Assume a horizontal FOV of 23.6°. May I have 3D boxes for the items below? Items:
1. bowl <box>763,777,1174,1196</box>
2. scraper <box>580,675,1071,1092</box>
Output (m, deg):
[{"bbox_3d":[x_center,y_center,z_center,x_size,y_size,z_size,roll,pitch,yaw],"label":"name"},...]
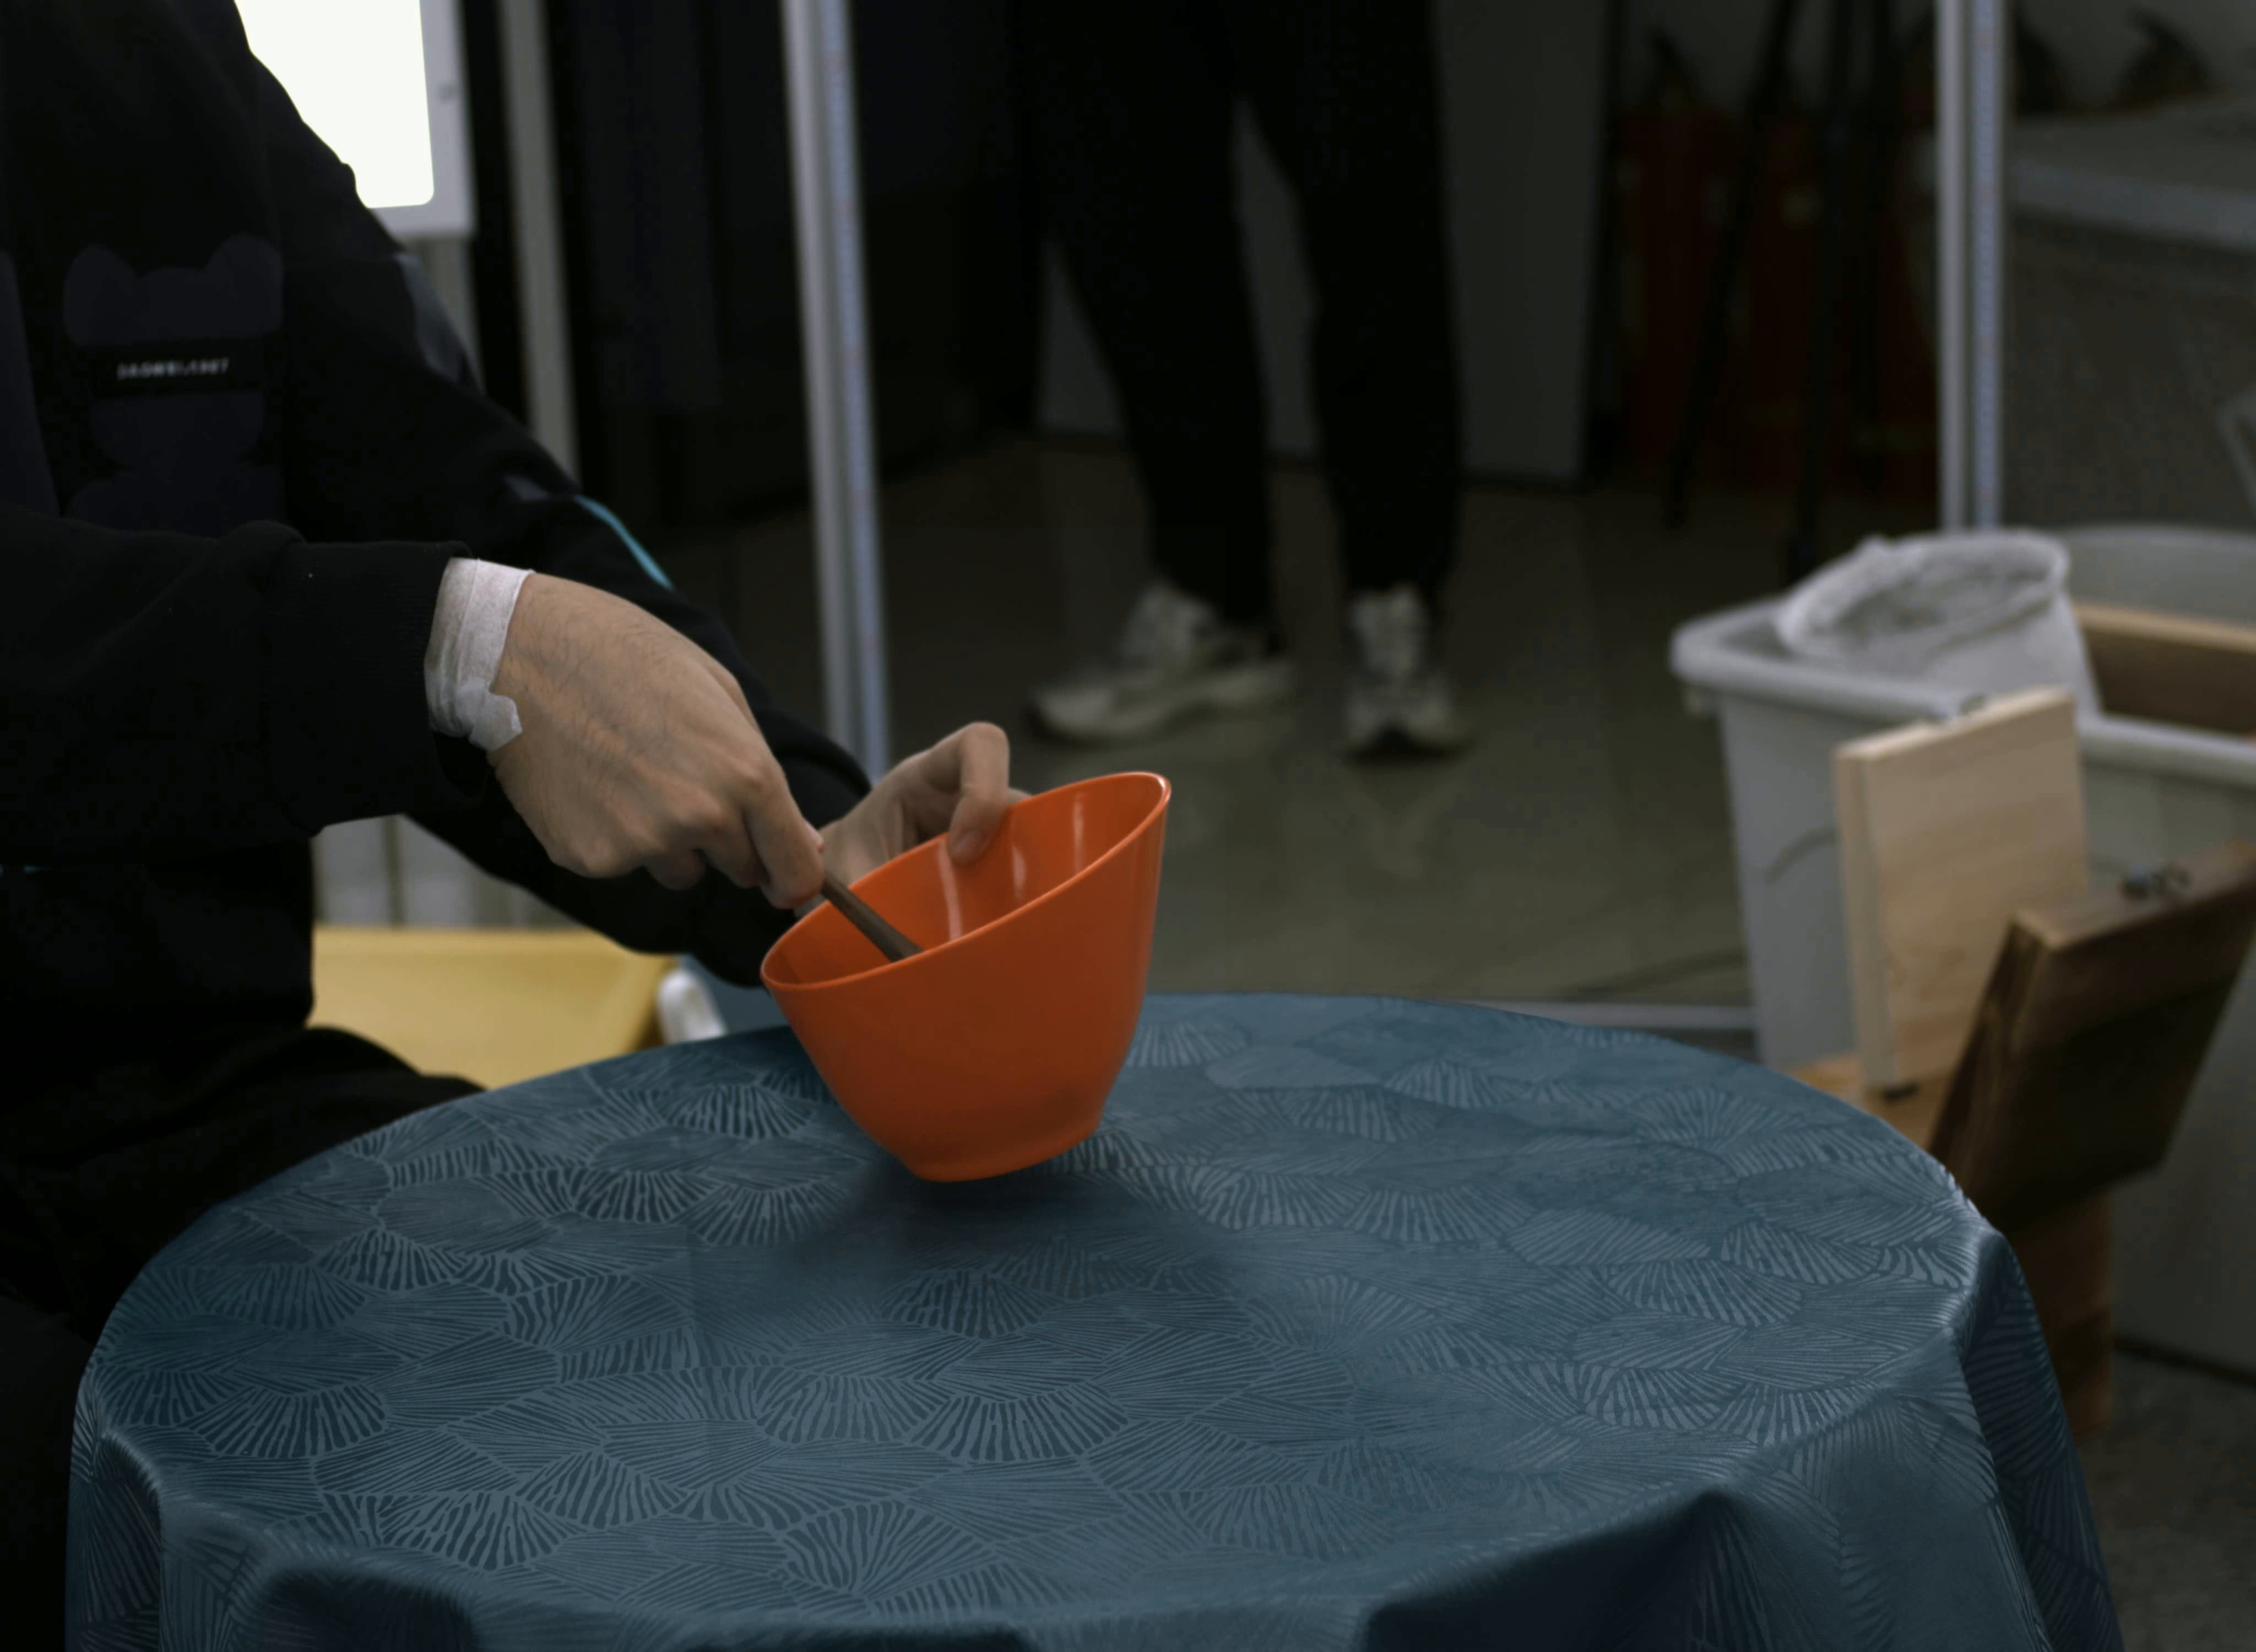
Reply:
[{"bbox_3d":[-0.041,0.058,1.766,0.146,0.105,0.148,-16,14,3],"label":"bowl"},{"bbox_3d":[-0.098,0.020,1.770,0.211,0.011,0.075,40,5,3],"label":"scraper"}]
